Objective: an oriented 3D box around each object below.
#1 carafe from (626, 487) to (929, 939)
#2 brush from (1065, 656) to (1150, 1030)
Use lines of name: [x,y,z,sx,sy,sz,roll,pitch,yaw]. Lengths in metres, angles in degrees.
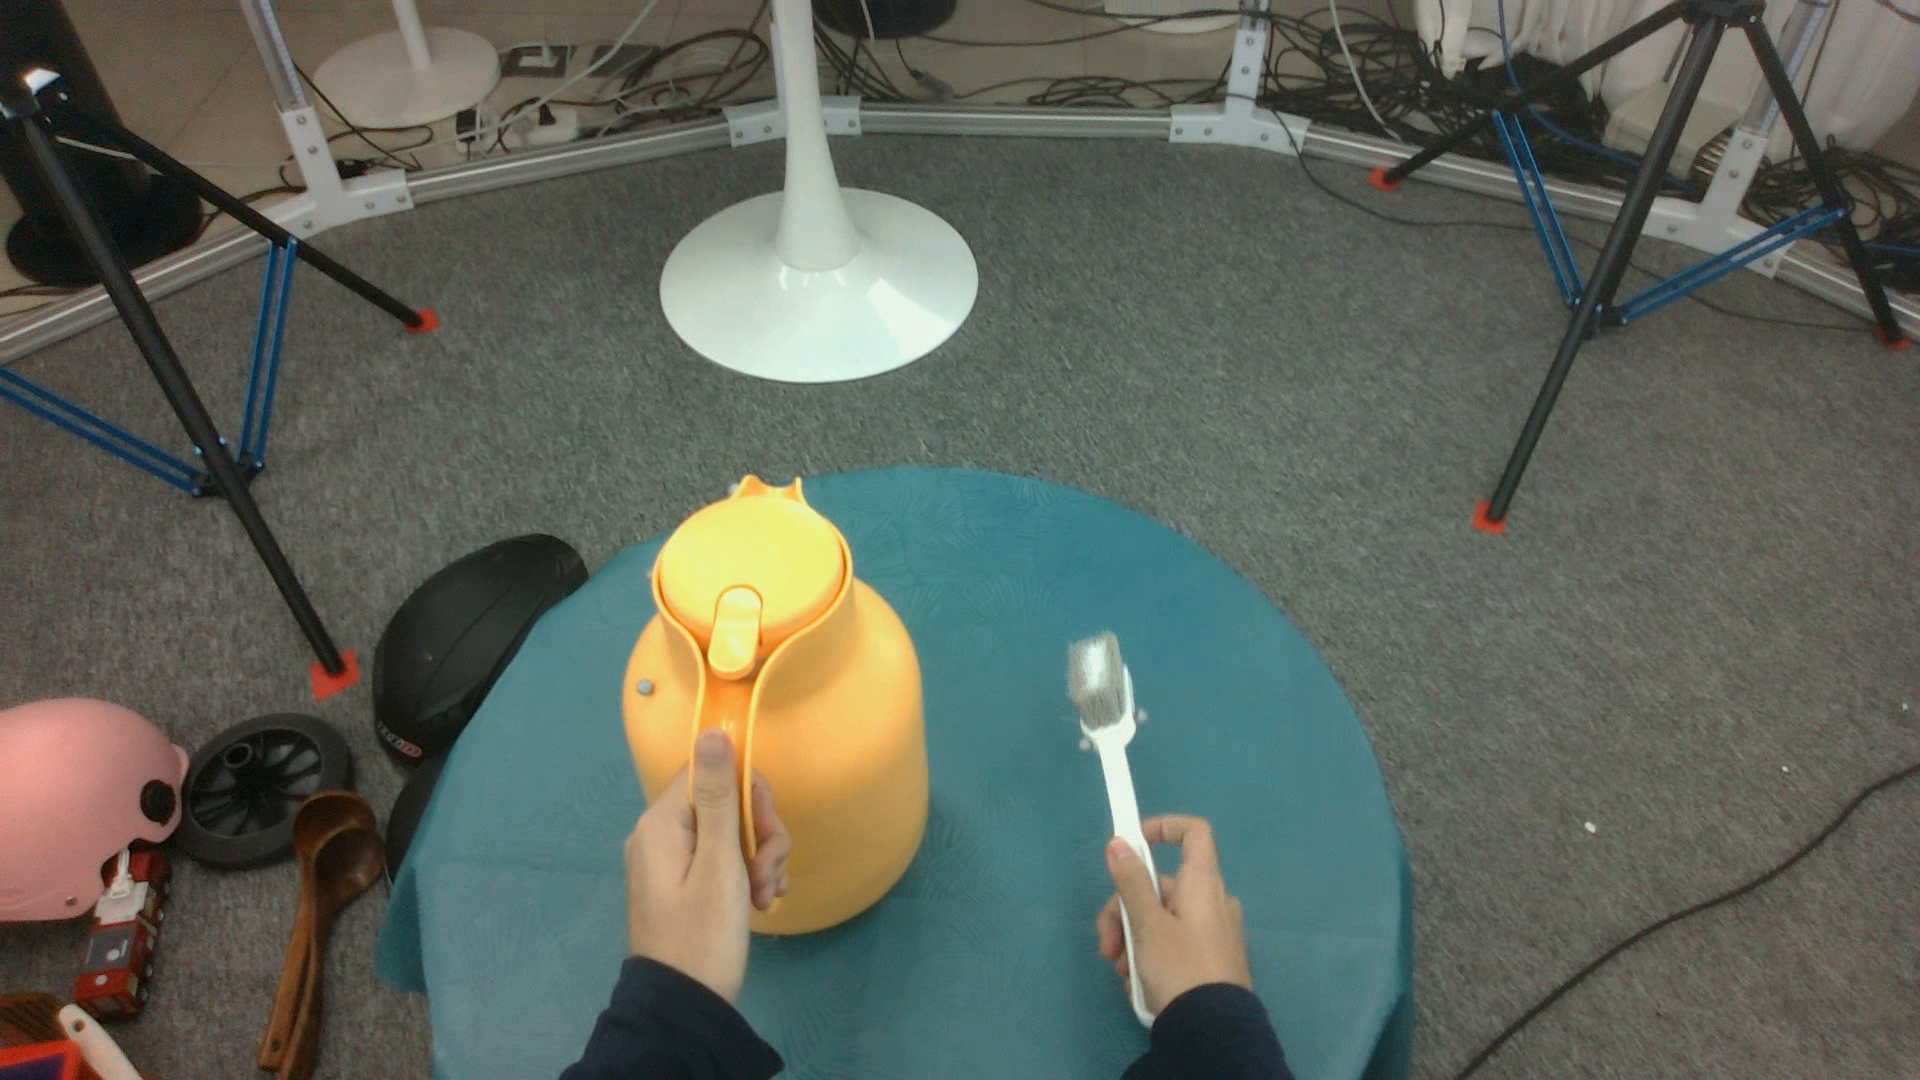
carafe: [-0.105,0.112,0.756,0.163,0.259,0.203,2,46,5]
brush: [0.085,0.162,0.800,0.034,0.050,0.245,-12,39,12]
